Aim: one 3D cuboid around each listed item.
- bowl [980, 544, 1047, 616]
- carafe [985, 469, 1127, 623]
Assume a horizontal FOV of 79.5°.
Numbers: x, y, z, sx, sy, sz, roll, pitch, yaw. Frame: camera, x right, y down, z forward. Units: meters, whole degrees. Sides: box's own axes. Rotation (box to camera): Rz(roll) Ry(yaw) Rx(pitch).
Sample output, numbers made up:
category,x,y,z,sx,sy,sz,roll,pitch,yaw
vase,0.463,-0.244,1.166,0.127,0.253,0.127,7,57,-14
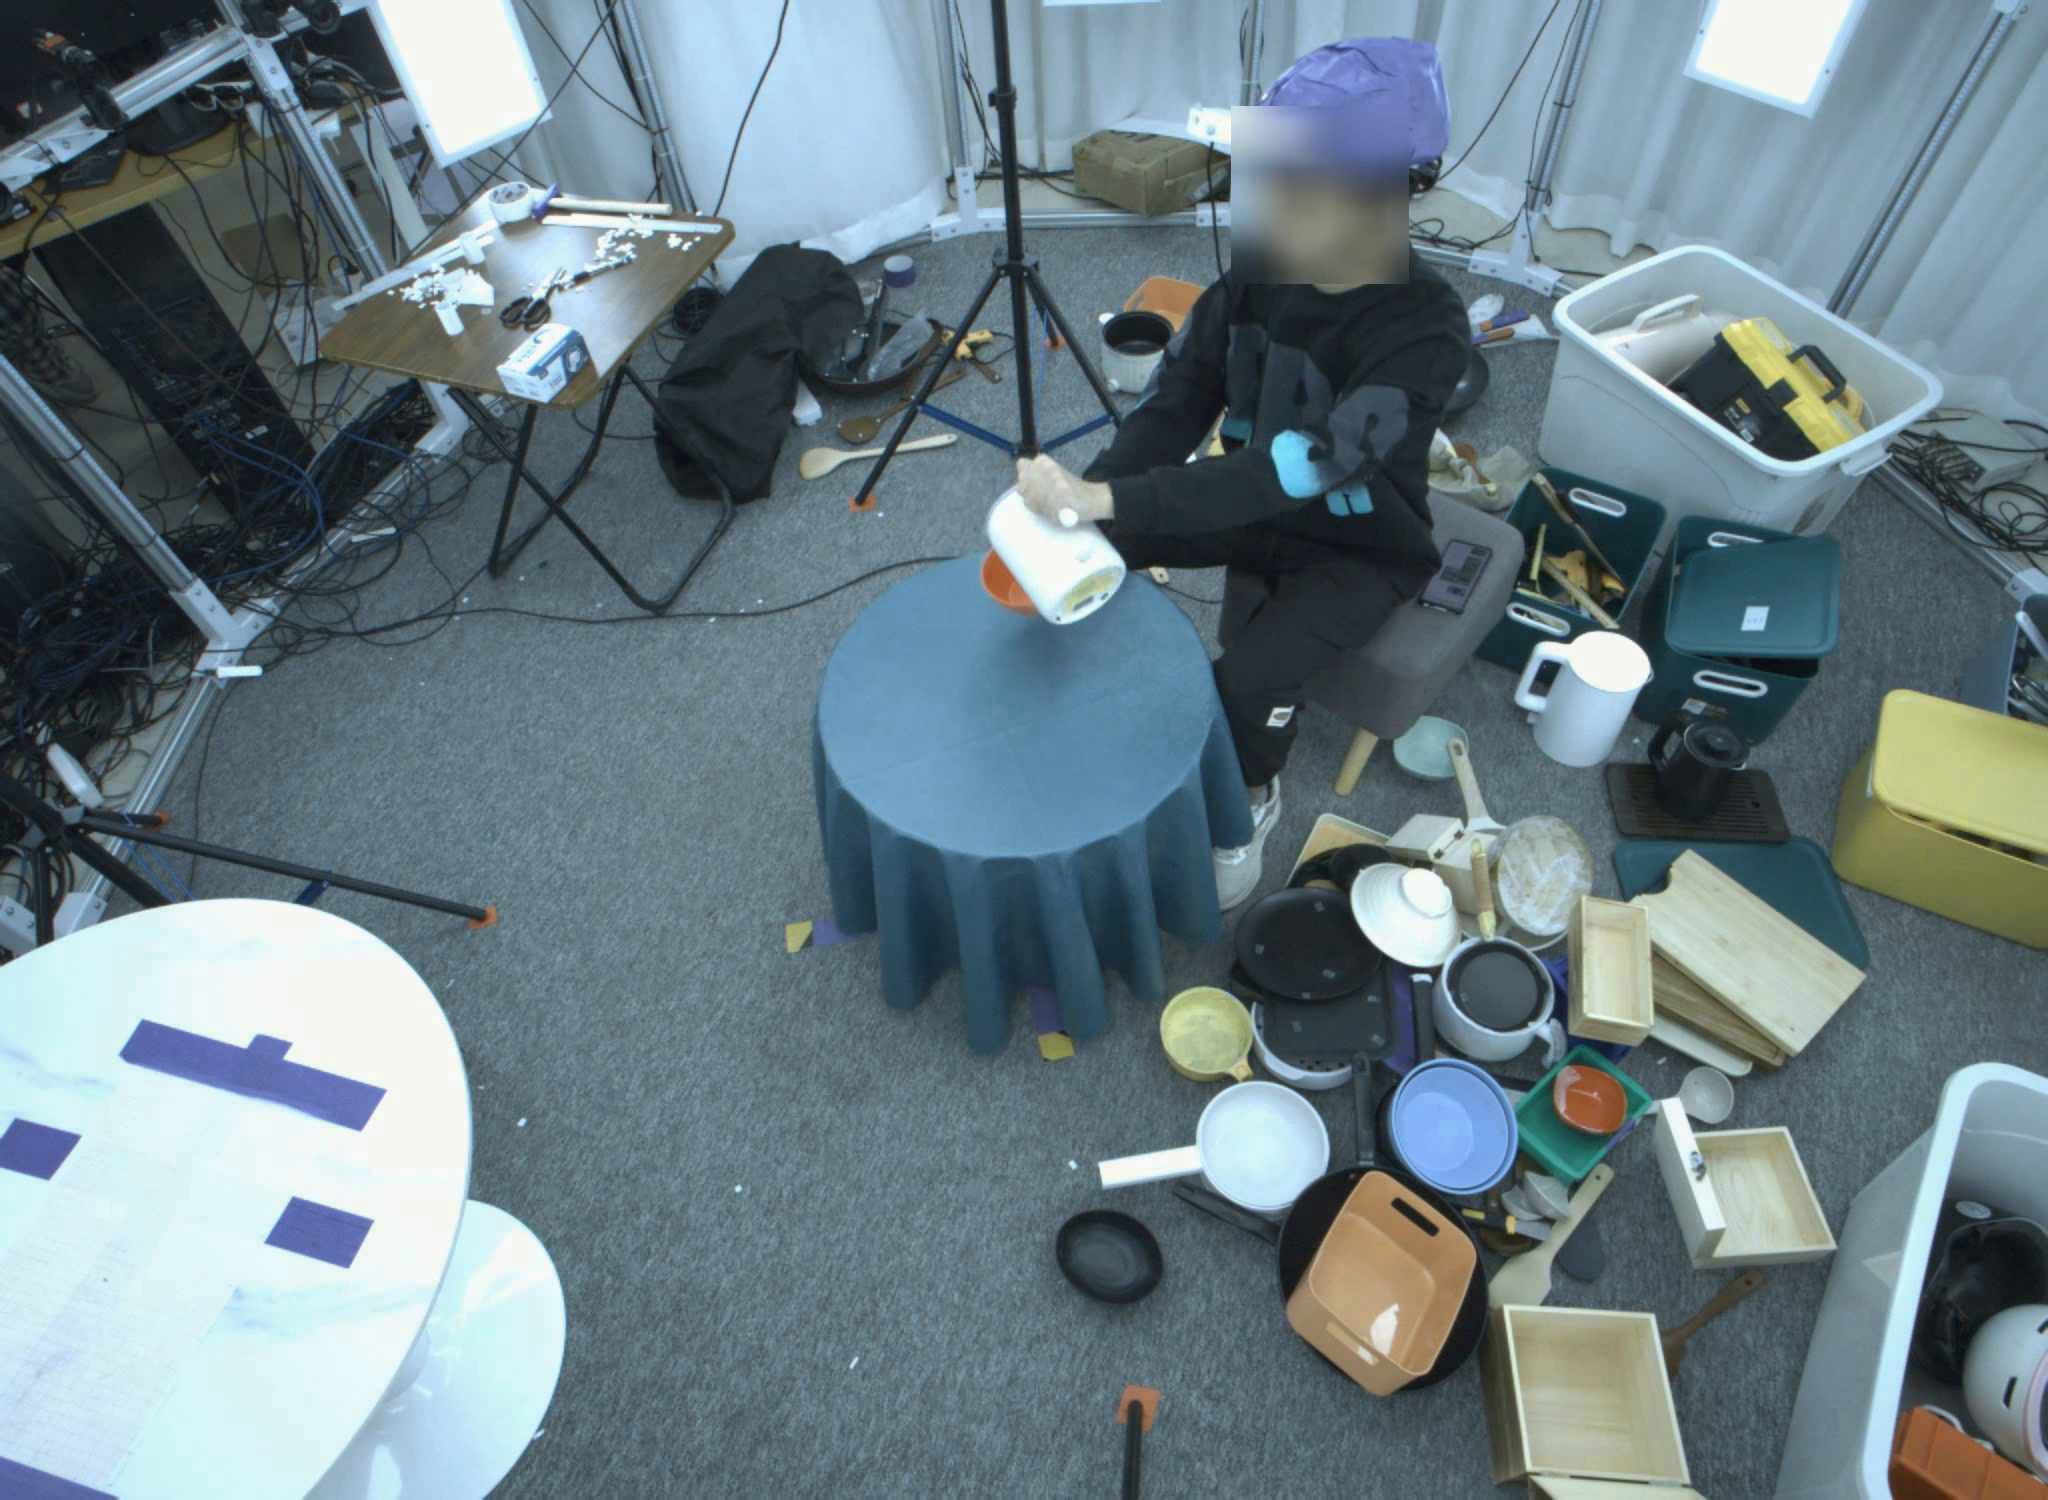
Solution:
category,x,y,z,sx,sy,sz,roll,pitch,yaw
bowl,0.009,-0.248,1.828,0.148,0.105,0.147,0,65,2
carafe,0.042,-0.286,1.647,0.133,0.192,0.180,-31,73,-17
